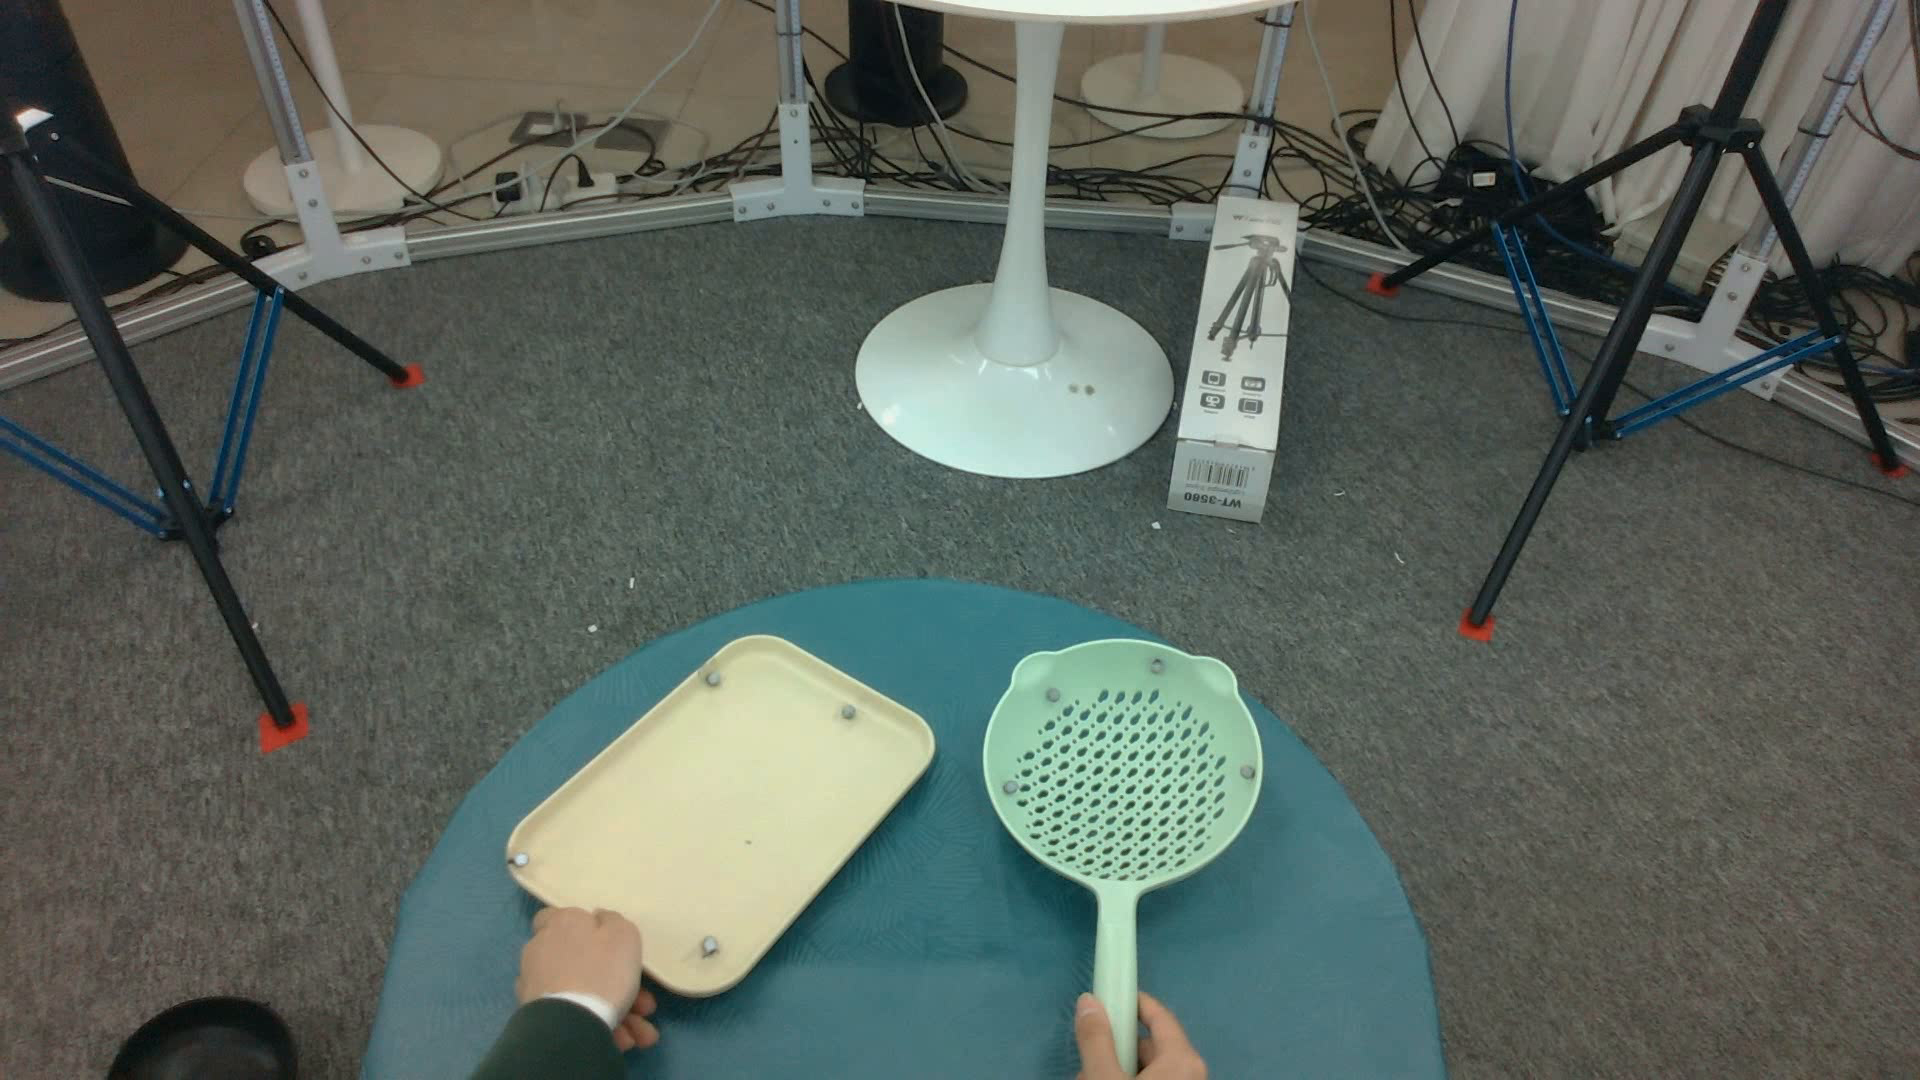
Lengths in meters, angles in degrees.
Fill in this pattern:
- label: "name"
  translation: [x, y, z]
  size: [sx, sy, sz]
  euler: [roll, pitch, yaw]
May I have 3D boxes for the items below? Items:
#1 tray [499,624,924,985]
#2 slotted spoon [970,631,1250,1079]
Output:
- label: "tray"
  translation: [-0.146, 0.154, 0.849]
  size: [0.171, 0.017, 0.241]
  euler: [26, 46, 20]
- label: "slotted spoon"
  translation: [0.082, 0.208, 0.783]
  size: [0.169, 0.075, 0.360]
  euler: [1, 43, 8]
